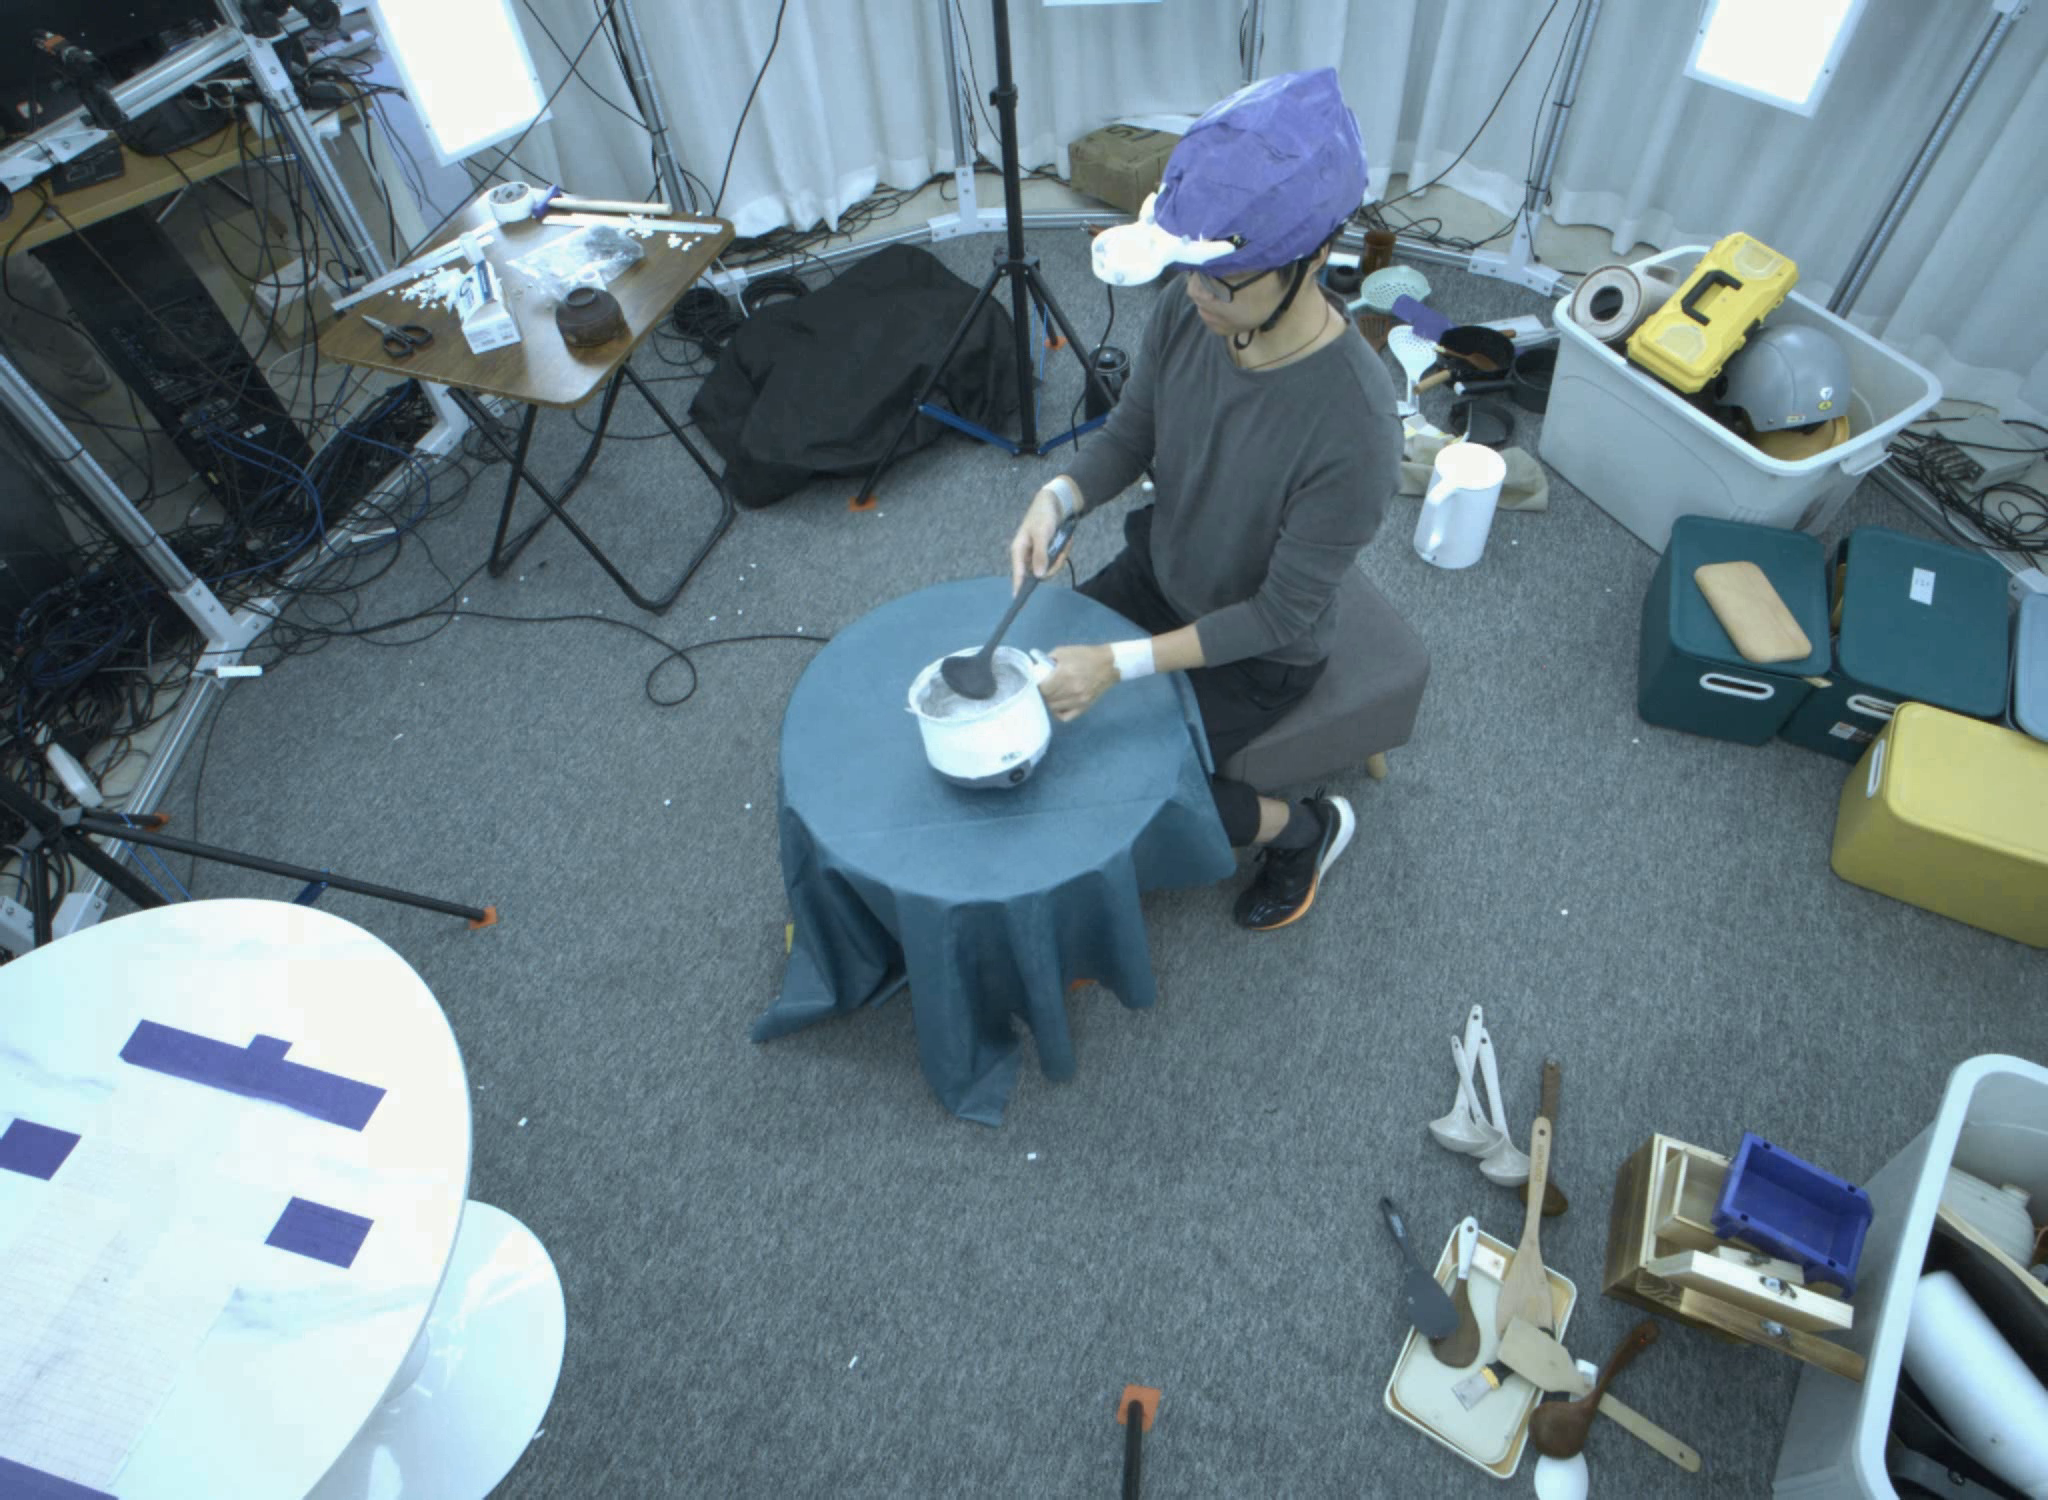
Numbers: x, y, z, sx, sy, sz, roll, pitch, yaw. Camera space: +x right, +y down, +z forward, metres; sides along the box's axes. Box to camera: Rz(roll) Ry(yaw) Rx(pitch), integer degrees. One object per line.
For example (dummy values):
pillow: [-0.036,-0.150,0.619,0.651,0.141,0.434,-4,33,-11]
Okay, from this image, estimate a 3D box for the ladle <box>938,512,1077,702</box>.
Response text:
ladle: [-0.011,-0.205,1.696,0.086,0.064,0.314,32,84,0]

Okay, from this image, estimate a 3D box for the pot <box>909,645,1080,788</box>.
pot: [-0.034,-0.056,1.731,0.235,0.138,0.174,-27,39,-15]
